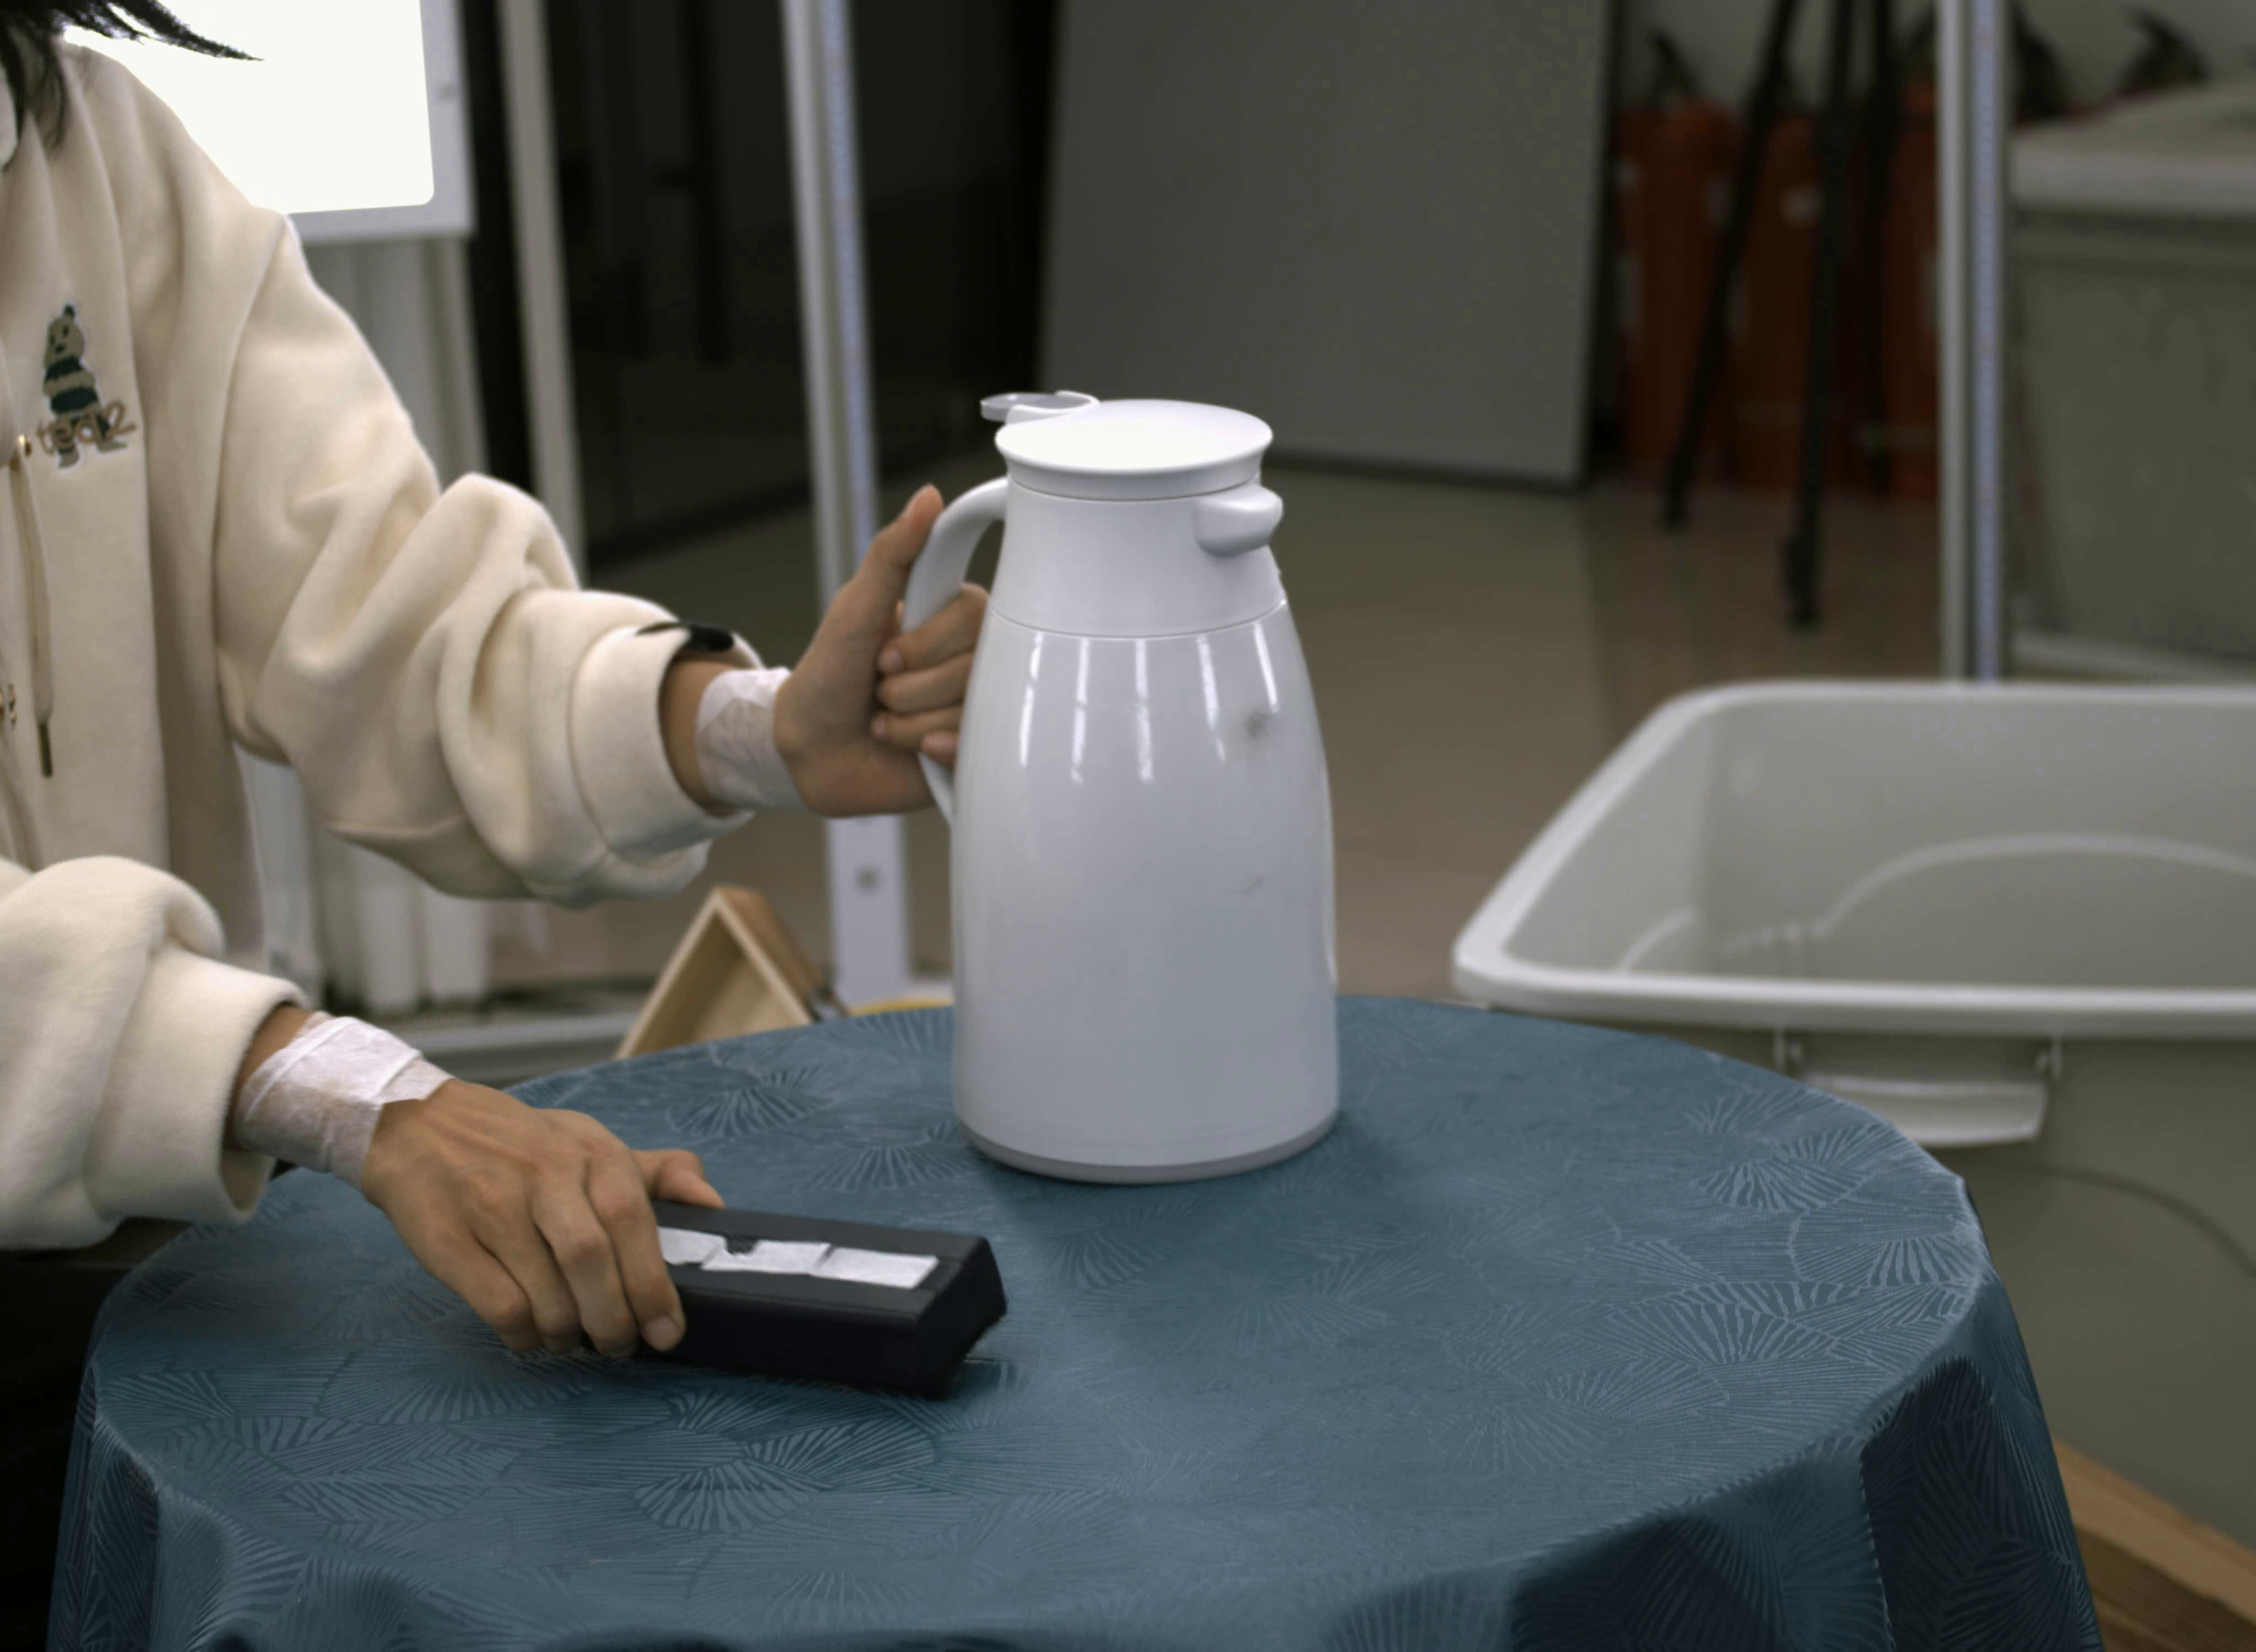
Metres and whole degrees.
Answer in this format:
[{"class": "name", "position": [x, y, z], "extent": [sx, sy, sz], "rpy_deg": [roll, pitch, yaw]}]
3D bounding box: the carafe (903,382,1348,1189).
[{"class": "carafe", "position": [-0.009, -0.021, 1.810], "extent": [0.169, 0.251, 0.130], "rpy_deg": [11, 20, 41]}]

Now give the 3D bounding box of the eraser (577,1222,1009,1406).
[{"class": "eraser", "position": [-0.099, 0.146, 1.622], "extent": [0.126, 0.031, 0.053], "rpy_deg": [3, 25, 28]}]
